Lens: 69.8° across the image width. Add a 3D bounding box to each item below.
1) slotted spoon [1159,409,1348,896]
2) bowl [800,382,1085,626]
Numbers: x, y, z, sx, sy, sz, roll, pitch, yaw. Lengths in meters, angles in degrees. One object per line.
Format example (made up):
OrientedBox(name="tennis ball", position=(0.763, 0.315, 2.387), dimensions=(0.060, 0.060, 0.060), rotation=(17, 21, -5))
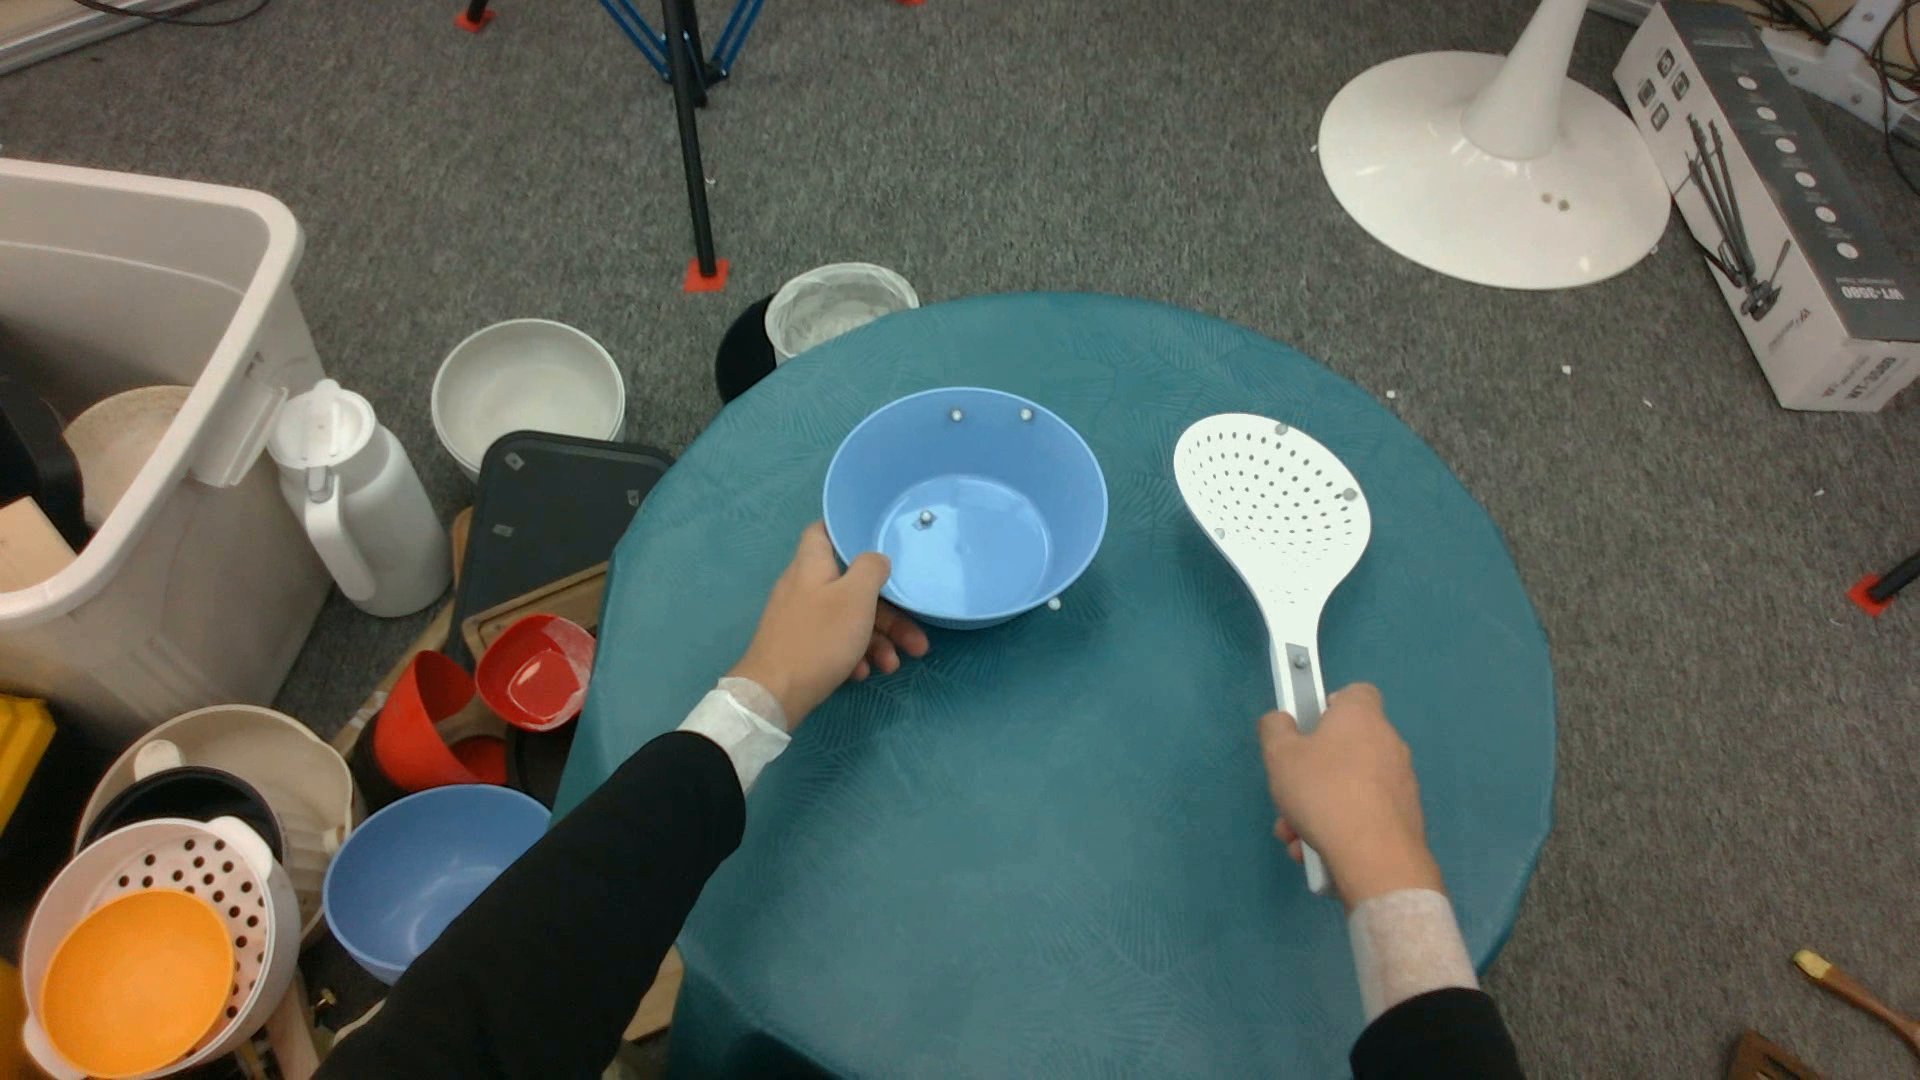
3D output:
OrientedBox(name="slotted spoon", position=(0.186, 0.050, 0.823), dimensions=(0.136, 0.045, 0.351), rotation=(14, 42, -14))
OrientedBox(name="bowl", position=(-0.012, -0.012, 0.871), dimensions=(0.176, 0.070, 0.177), rotation=(1, 57, -2))
